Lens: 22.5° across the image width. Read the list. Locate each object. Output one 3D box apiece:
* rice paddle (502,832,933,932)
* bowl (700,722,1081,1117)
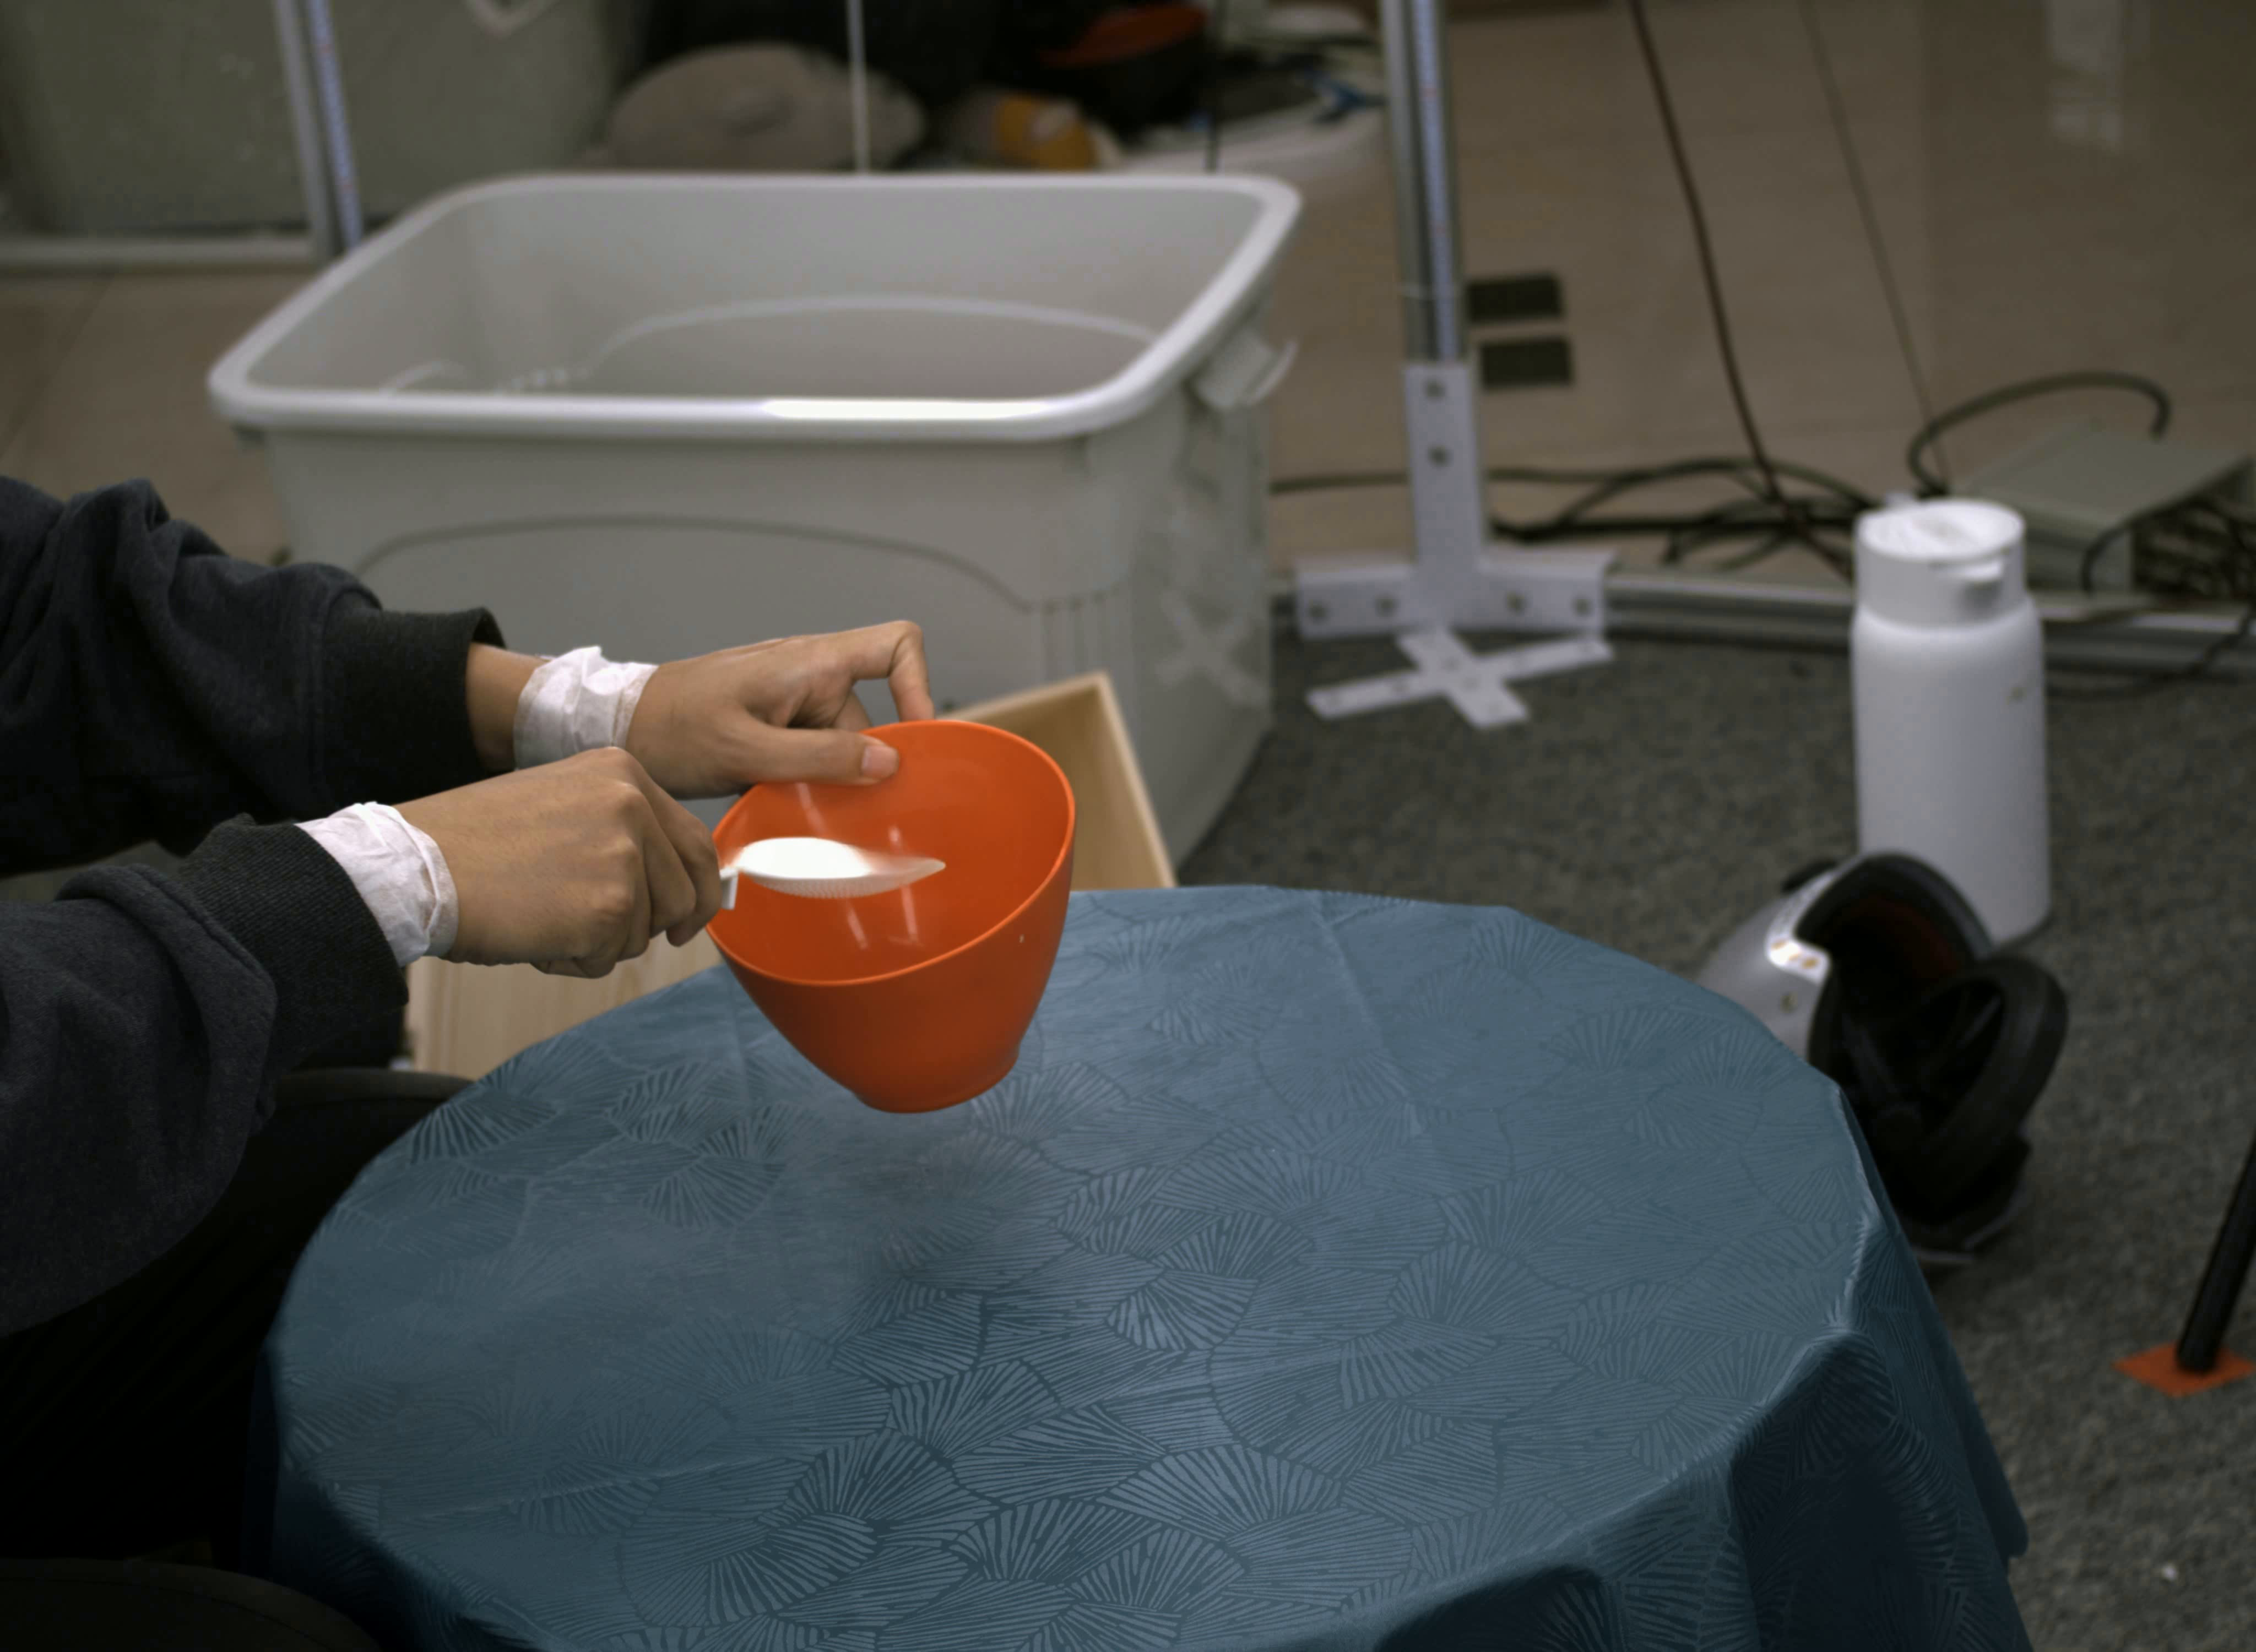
[{"bbox_3d":[-0.147,0.014,2.066,0.068,0.029,0.205,15,13,36],"label":"rice paddle"},{"bbox_3d":[-0.082,0.043,2.143,0.148,0.106,0.145,-9,31,6],"label":"bowl"}]
